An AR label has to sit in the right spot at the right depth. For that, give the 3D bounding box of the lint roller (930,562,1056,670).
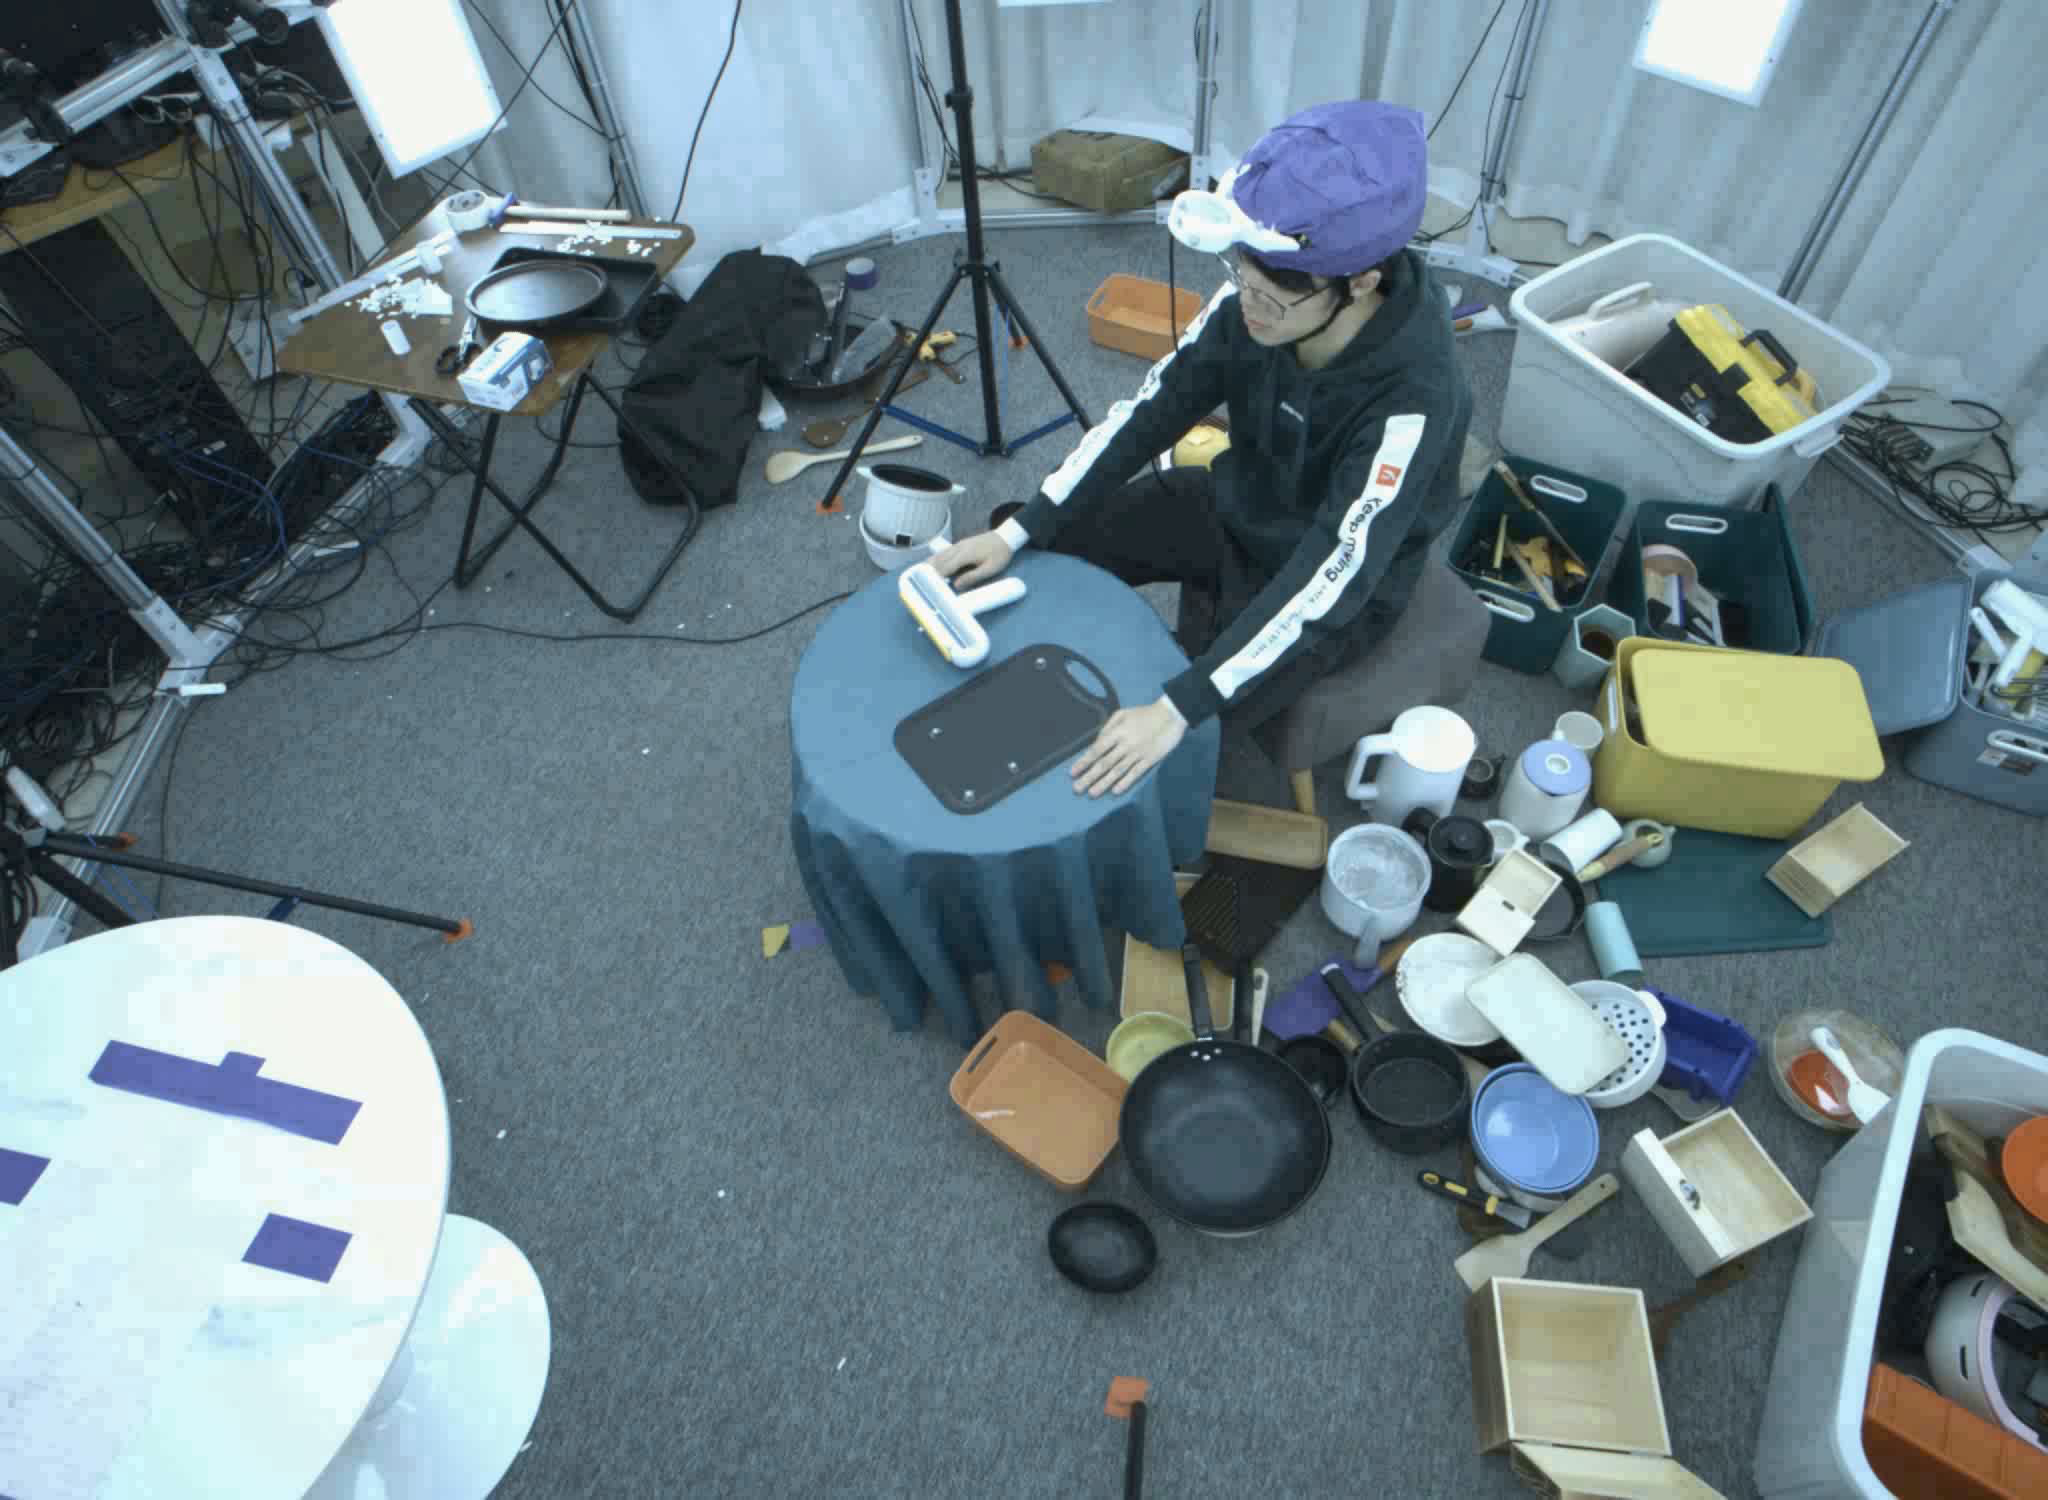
[{"bbox_3d":[-0.032,-0.217,1.919,0.195,0.074,0.190,-17,61,-27],"label":"lint roller"}]

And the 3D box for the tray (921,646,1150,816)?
[{"bbox_3d":[0.022,-0.039,1.806,0.328,0.010,0.207,-29,59,-18],"label":"tray"}]
